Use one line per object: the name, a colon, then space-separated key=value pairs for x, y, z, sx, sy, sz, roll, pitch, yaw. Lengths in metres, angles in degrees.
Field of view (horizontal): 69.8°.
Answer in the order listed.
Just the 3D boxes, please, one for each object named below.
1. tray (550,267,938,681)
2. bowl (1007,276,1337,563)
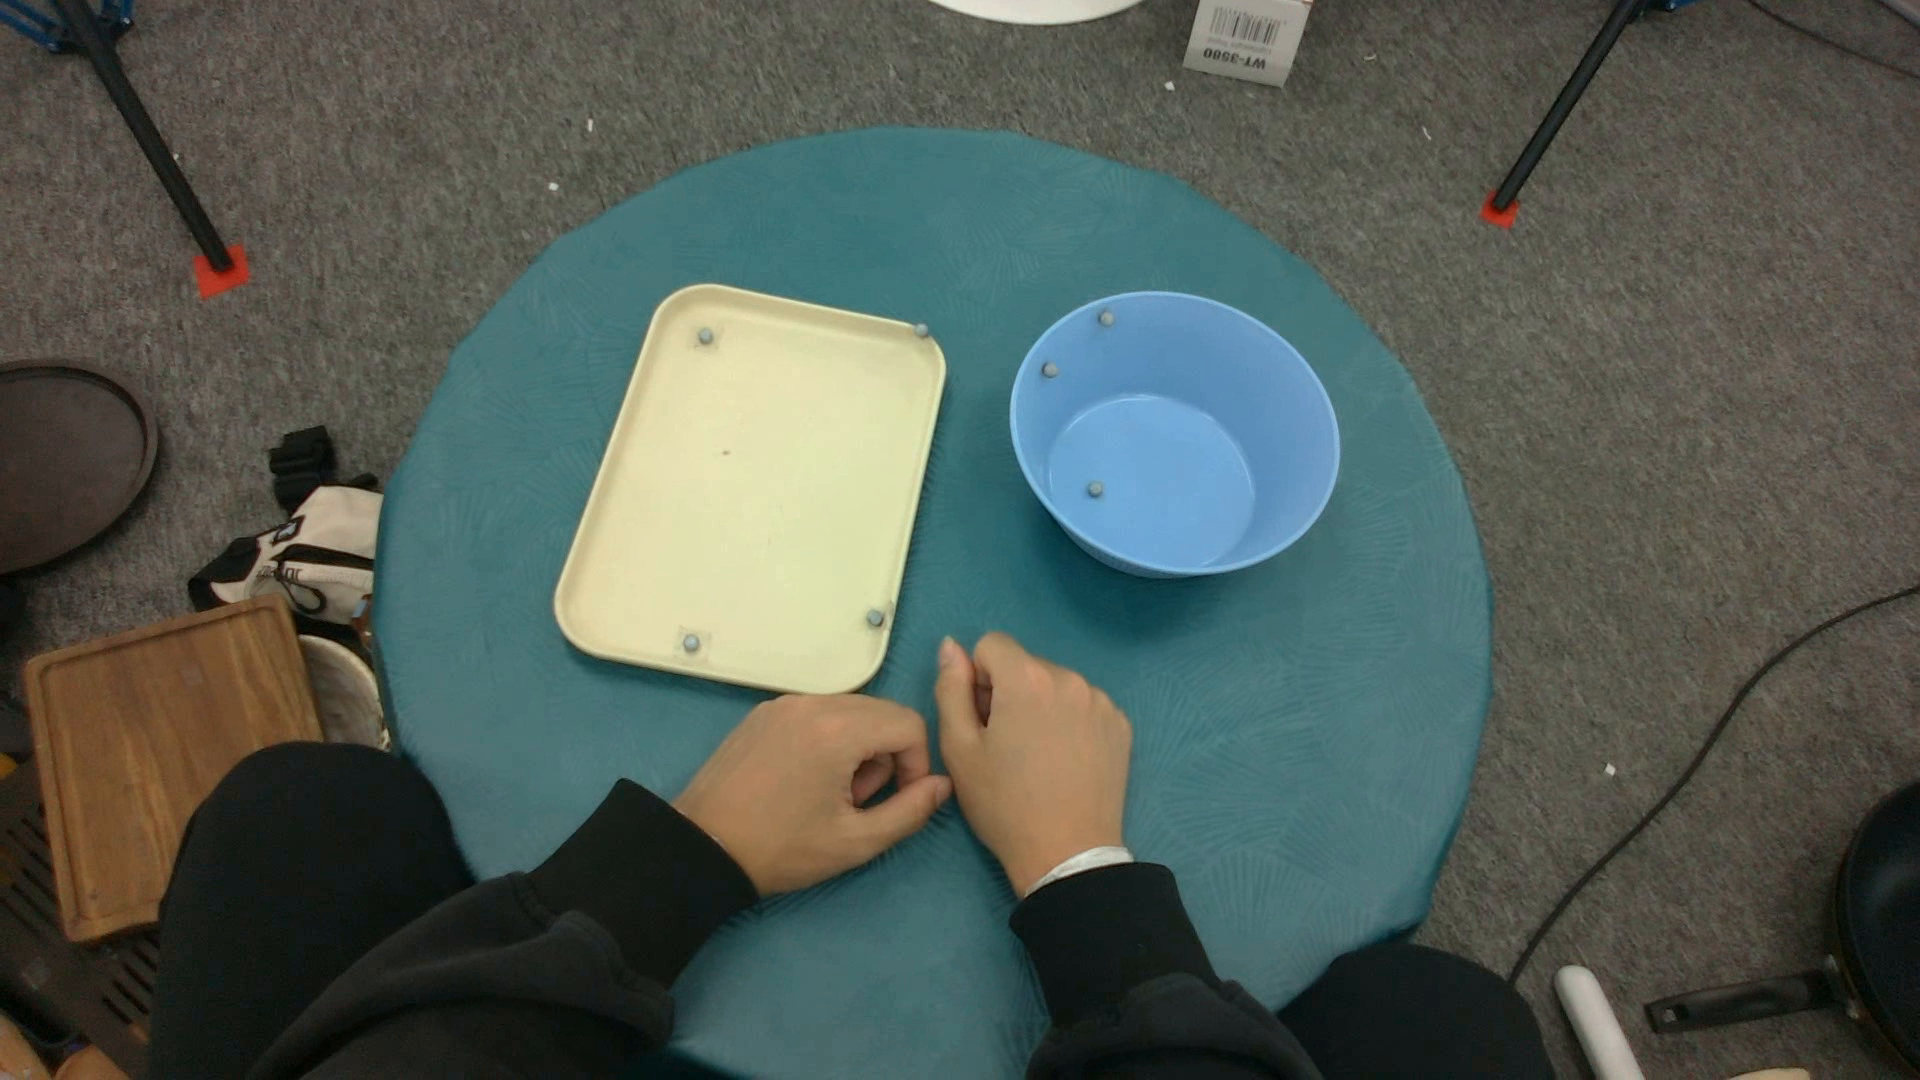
tray: x=-0.110 y=-0.041 z=0.745 sx=0.171 sy=0.017 sz=0.240 roll=11 pitch=61 yaw=0
bowl: x=0.108 y=-0.054 z=0.748 sx=0.176 sy=0.070 sz=0.177 roll=3 pitch=61 yaw=-5
